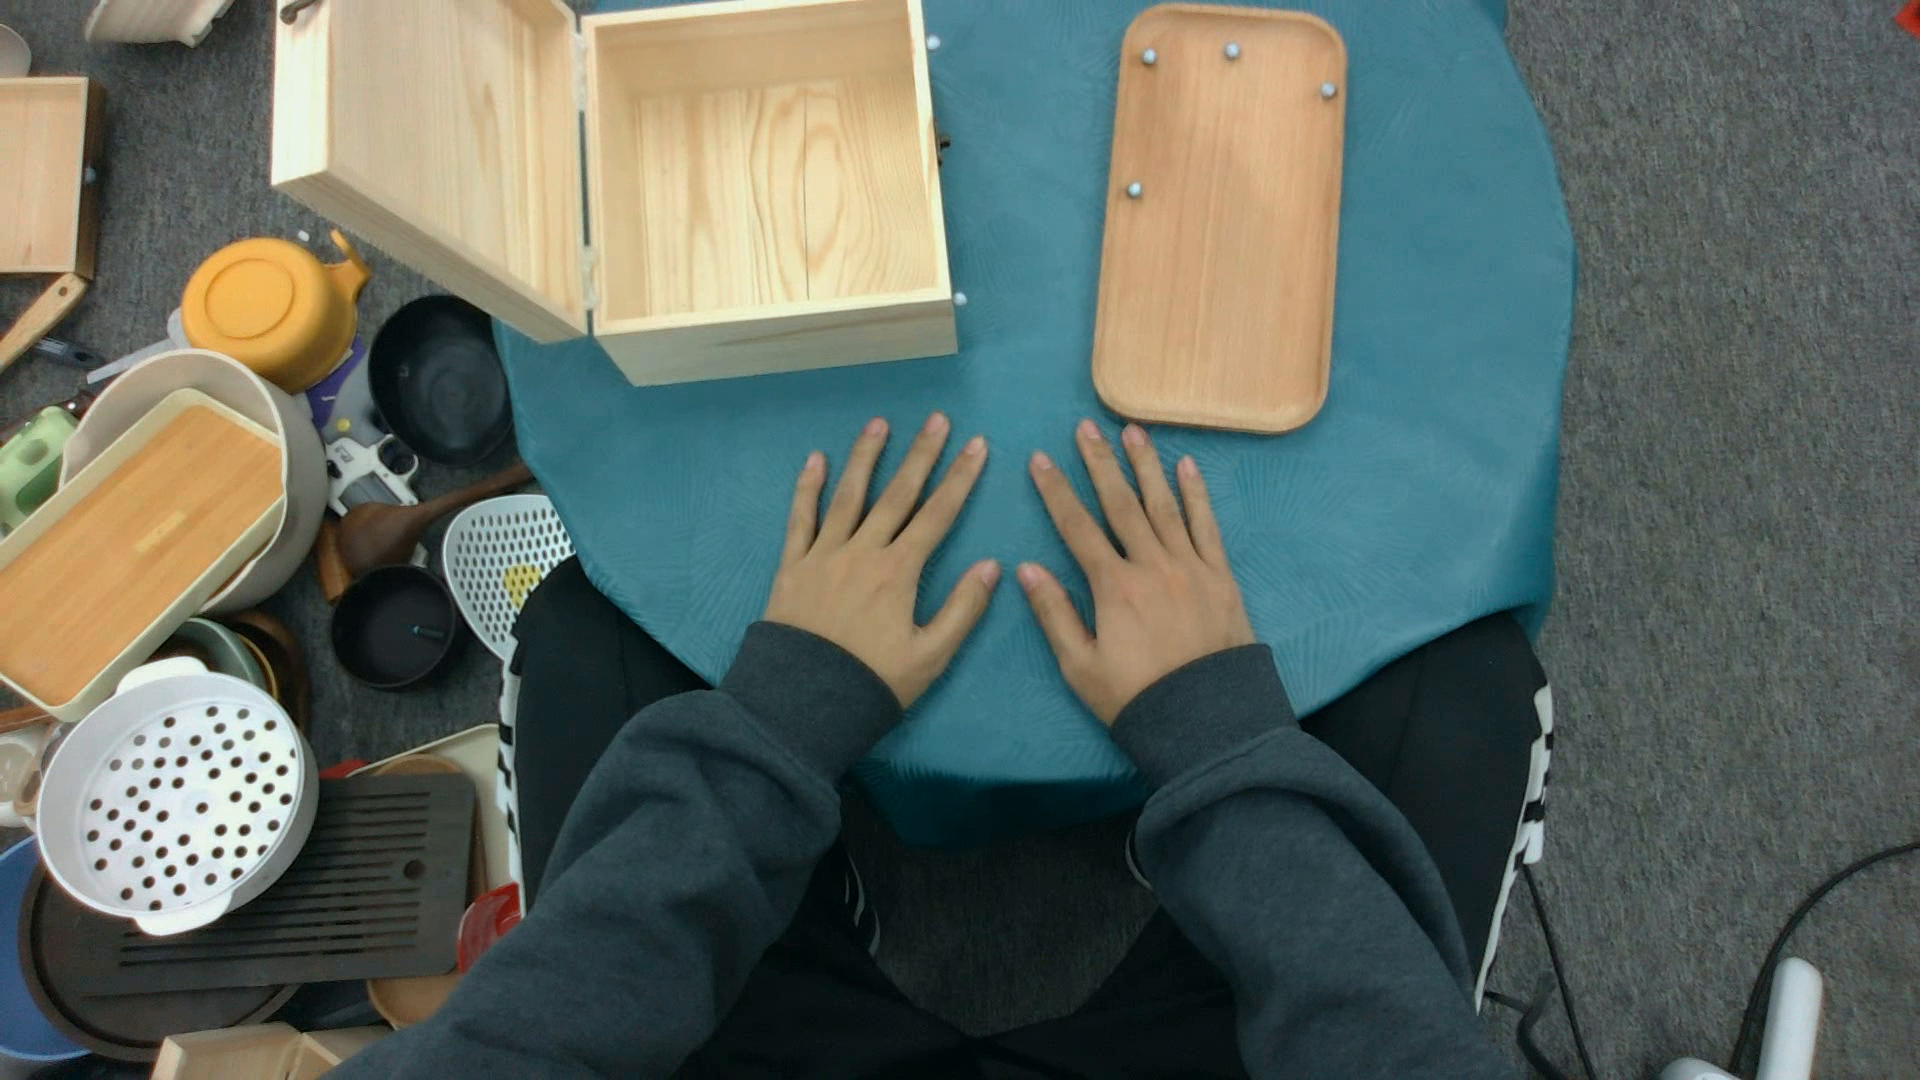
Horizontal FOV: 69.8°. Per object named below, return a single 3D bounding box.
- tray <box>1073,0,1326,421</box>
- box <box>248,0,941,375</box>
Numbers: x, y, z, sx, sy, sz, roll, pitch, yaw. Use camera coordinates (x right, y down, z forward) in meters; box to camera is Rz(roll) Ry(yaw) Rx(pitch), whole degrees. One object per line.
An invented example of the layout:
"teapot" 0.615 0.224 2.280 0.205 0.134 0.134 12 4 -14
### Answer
"tray" 0.135 -0.187 0.767 0.130 0.023 0.251 5 77 5
"box" -0.148 -0.209 0.662 0.265 0.253 0.182 -7 79 1
